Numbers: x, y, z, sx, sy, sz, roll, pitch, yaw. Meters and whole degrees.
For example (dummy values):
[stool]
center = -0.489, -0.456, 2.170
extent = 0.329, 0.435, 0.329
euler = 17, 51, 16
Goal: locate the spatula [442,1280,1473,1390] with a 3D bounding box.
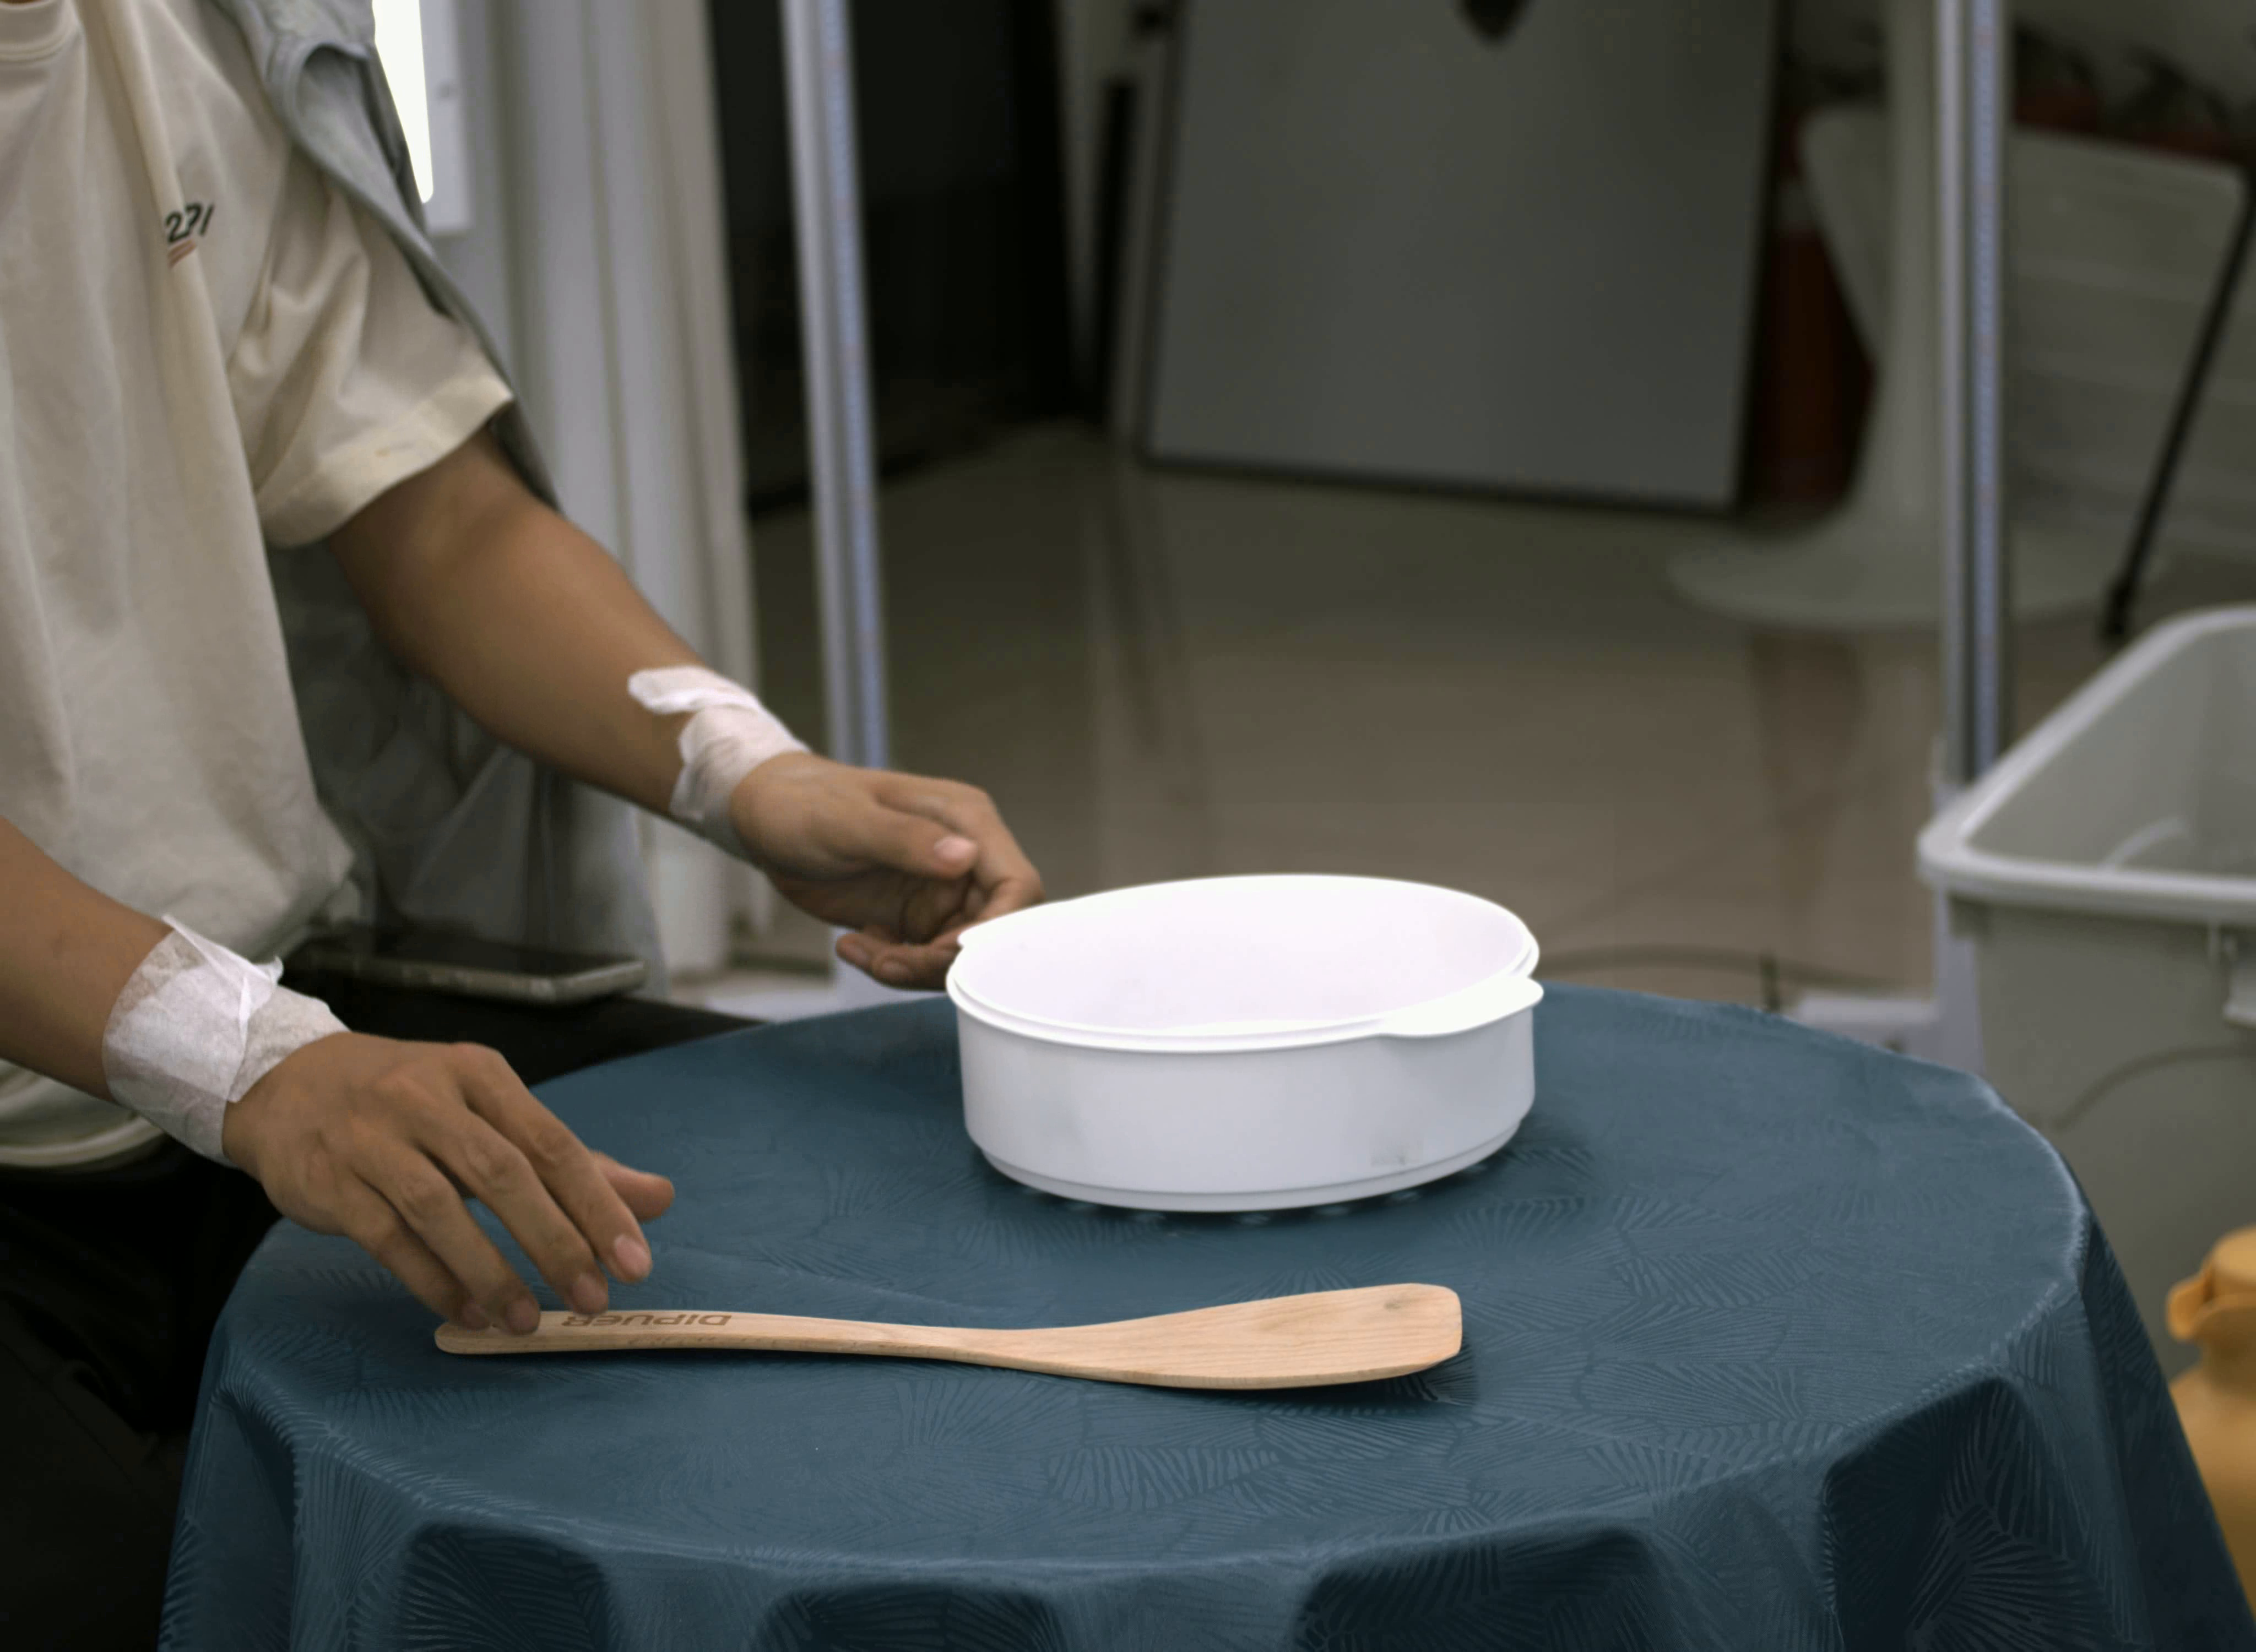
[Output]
[spatula]
center = -0.052, 0.153, 1.626
extent = 0.326, 0.017, 0.079
euler = -1, 13, 14

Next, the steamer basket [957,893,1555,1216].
[steamer basket]
center = 0.043, 0.076, 1.808
extent = 0.233, 0.070, 0.198
euler = 8, 17, 44
